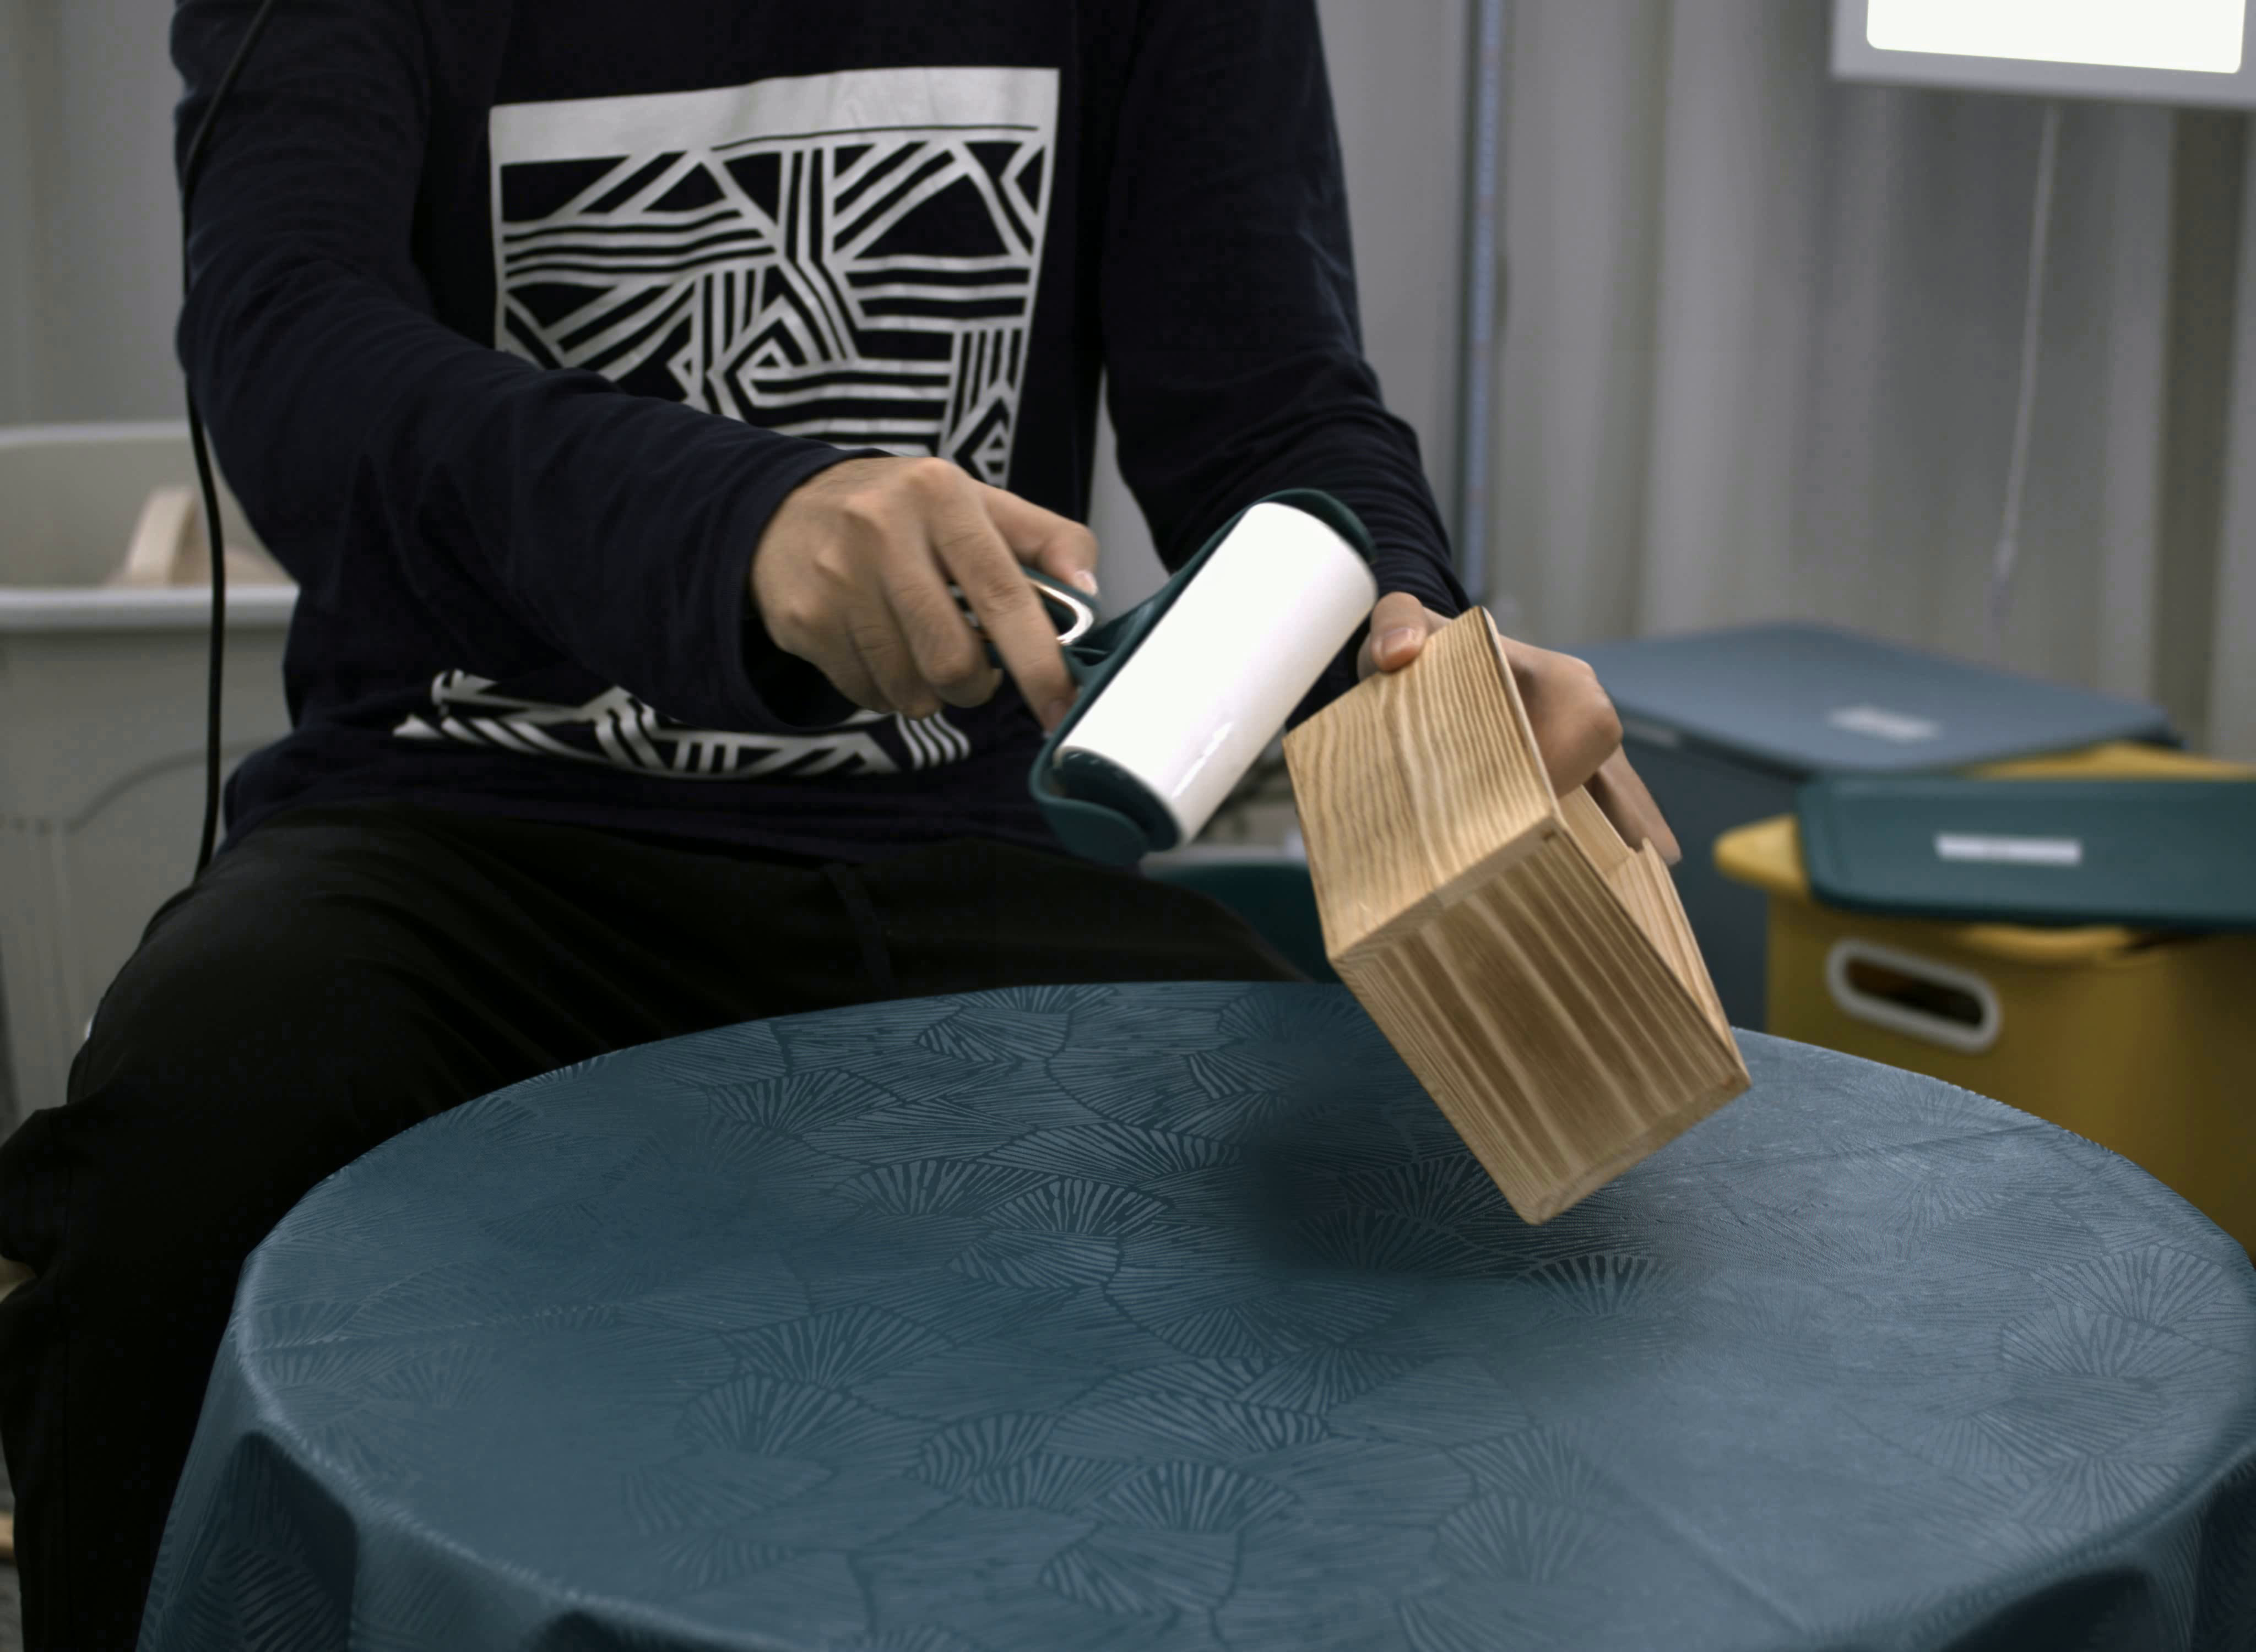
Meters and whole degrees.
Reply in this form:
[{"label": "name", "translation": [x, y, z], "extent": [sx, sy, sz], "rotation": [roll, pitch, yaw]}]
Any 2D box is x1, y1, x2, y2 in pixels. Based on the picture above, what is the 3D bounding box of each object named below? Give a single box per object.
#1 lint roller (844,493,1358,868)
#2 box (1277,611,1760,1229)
[{"label": "lint roller", "translation": [-0.027, -0.061, 1.586], "extent": [0.177, 0.049, 0.134], "rotation": [20, 62, 38]}, {"label": "box", "translation": [0.116, 0.025, 1.618], "extent": [0.080, 0.108, 0.210], "rotation": [-35, 18, 8]}]
